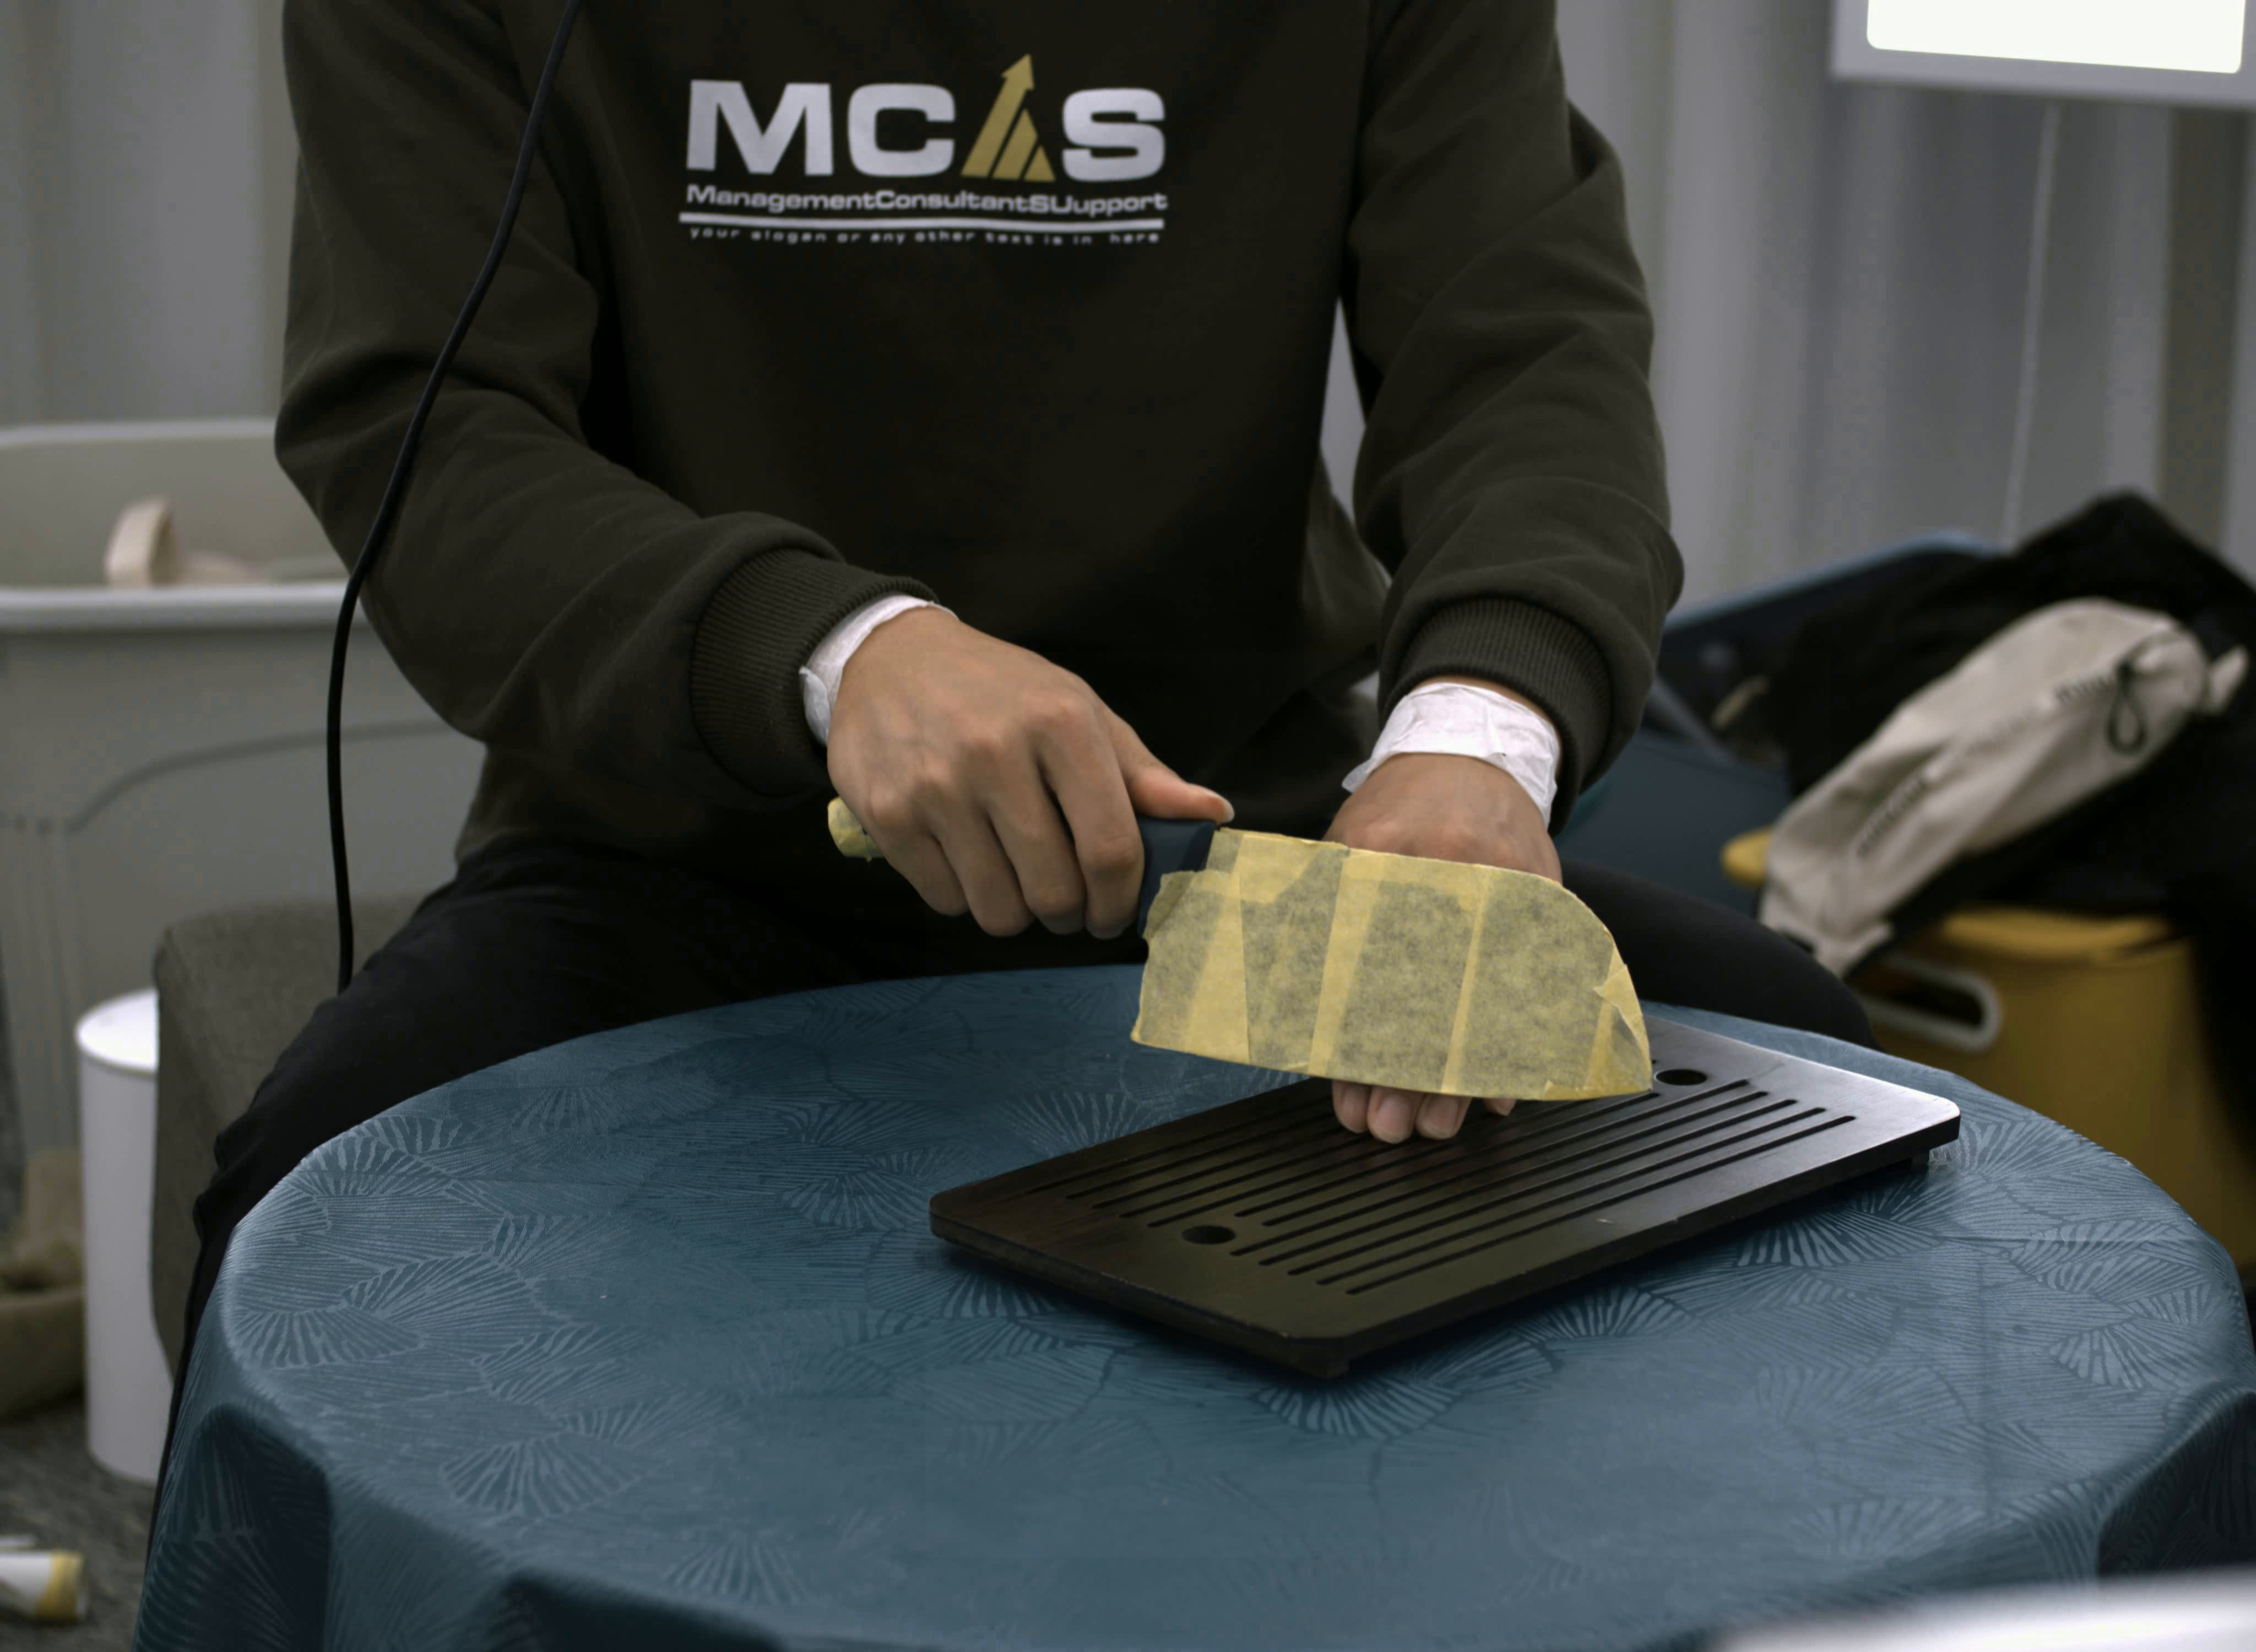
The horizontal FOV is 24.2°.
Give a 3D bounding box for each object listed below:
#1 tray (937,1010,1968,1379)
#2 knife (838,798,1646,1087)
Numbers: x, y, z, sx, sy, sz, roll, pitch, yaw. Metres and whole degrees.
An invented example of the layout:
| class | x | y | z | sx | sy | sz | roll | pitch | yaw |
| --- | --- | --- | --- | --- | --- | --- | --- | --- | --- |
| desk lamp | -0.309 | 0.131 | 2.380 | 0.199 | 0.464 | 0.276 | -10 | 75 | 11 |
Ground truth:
| class | x | y | z | sx | sy | sz | roll | pitch | yaw |
| --- | --- | --- | --- | --- | --- | --- | --- | --- | --- |
| tray | 0.103 | 0.108 | 1.610 | 0.307 | 0.019 | 0.168 | -14 | 20 | -43 |
| knife | 0.031 | 0.035 | 1.651 | 0.286 | 0.081 | 0.027 | 11 | -9 | 27 |
